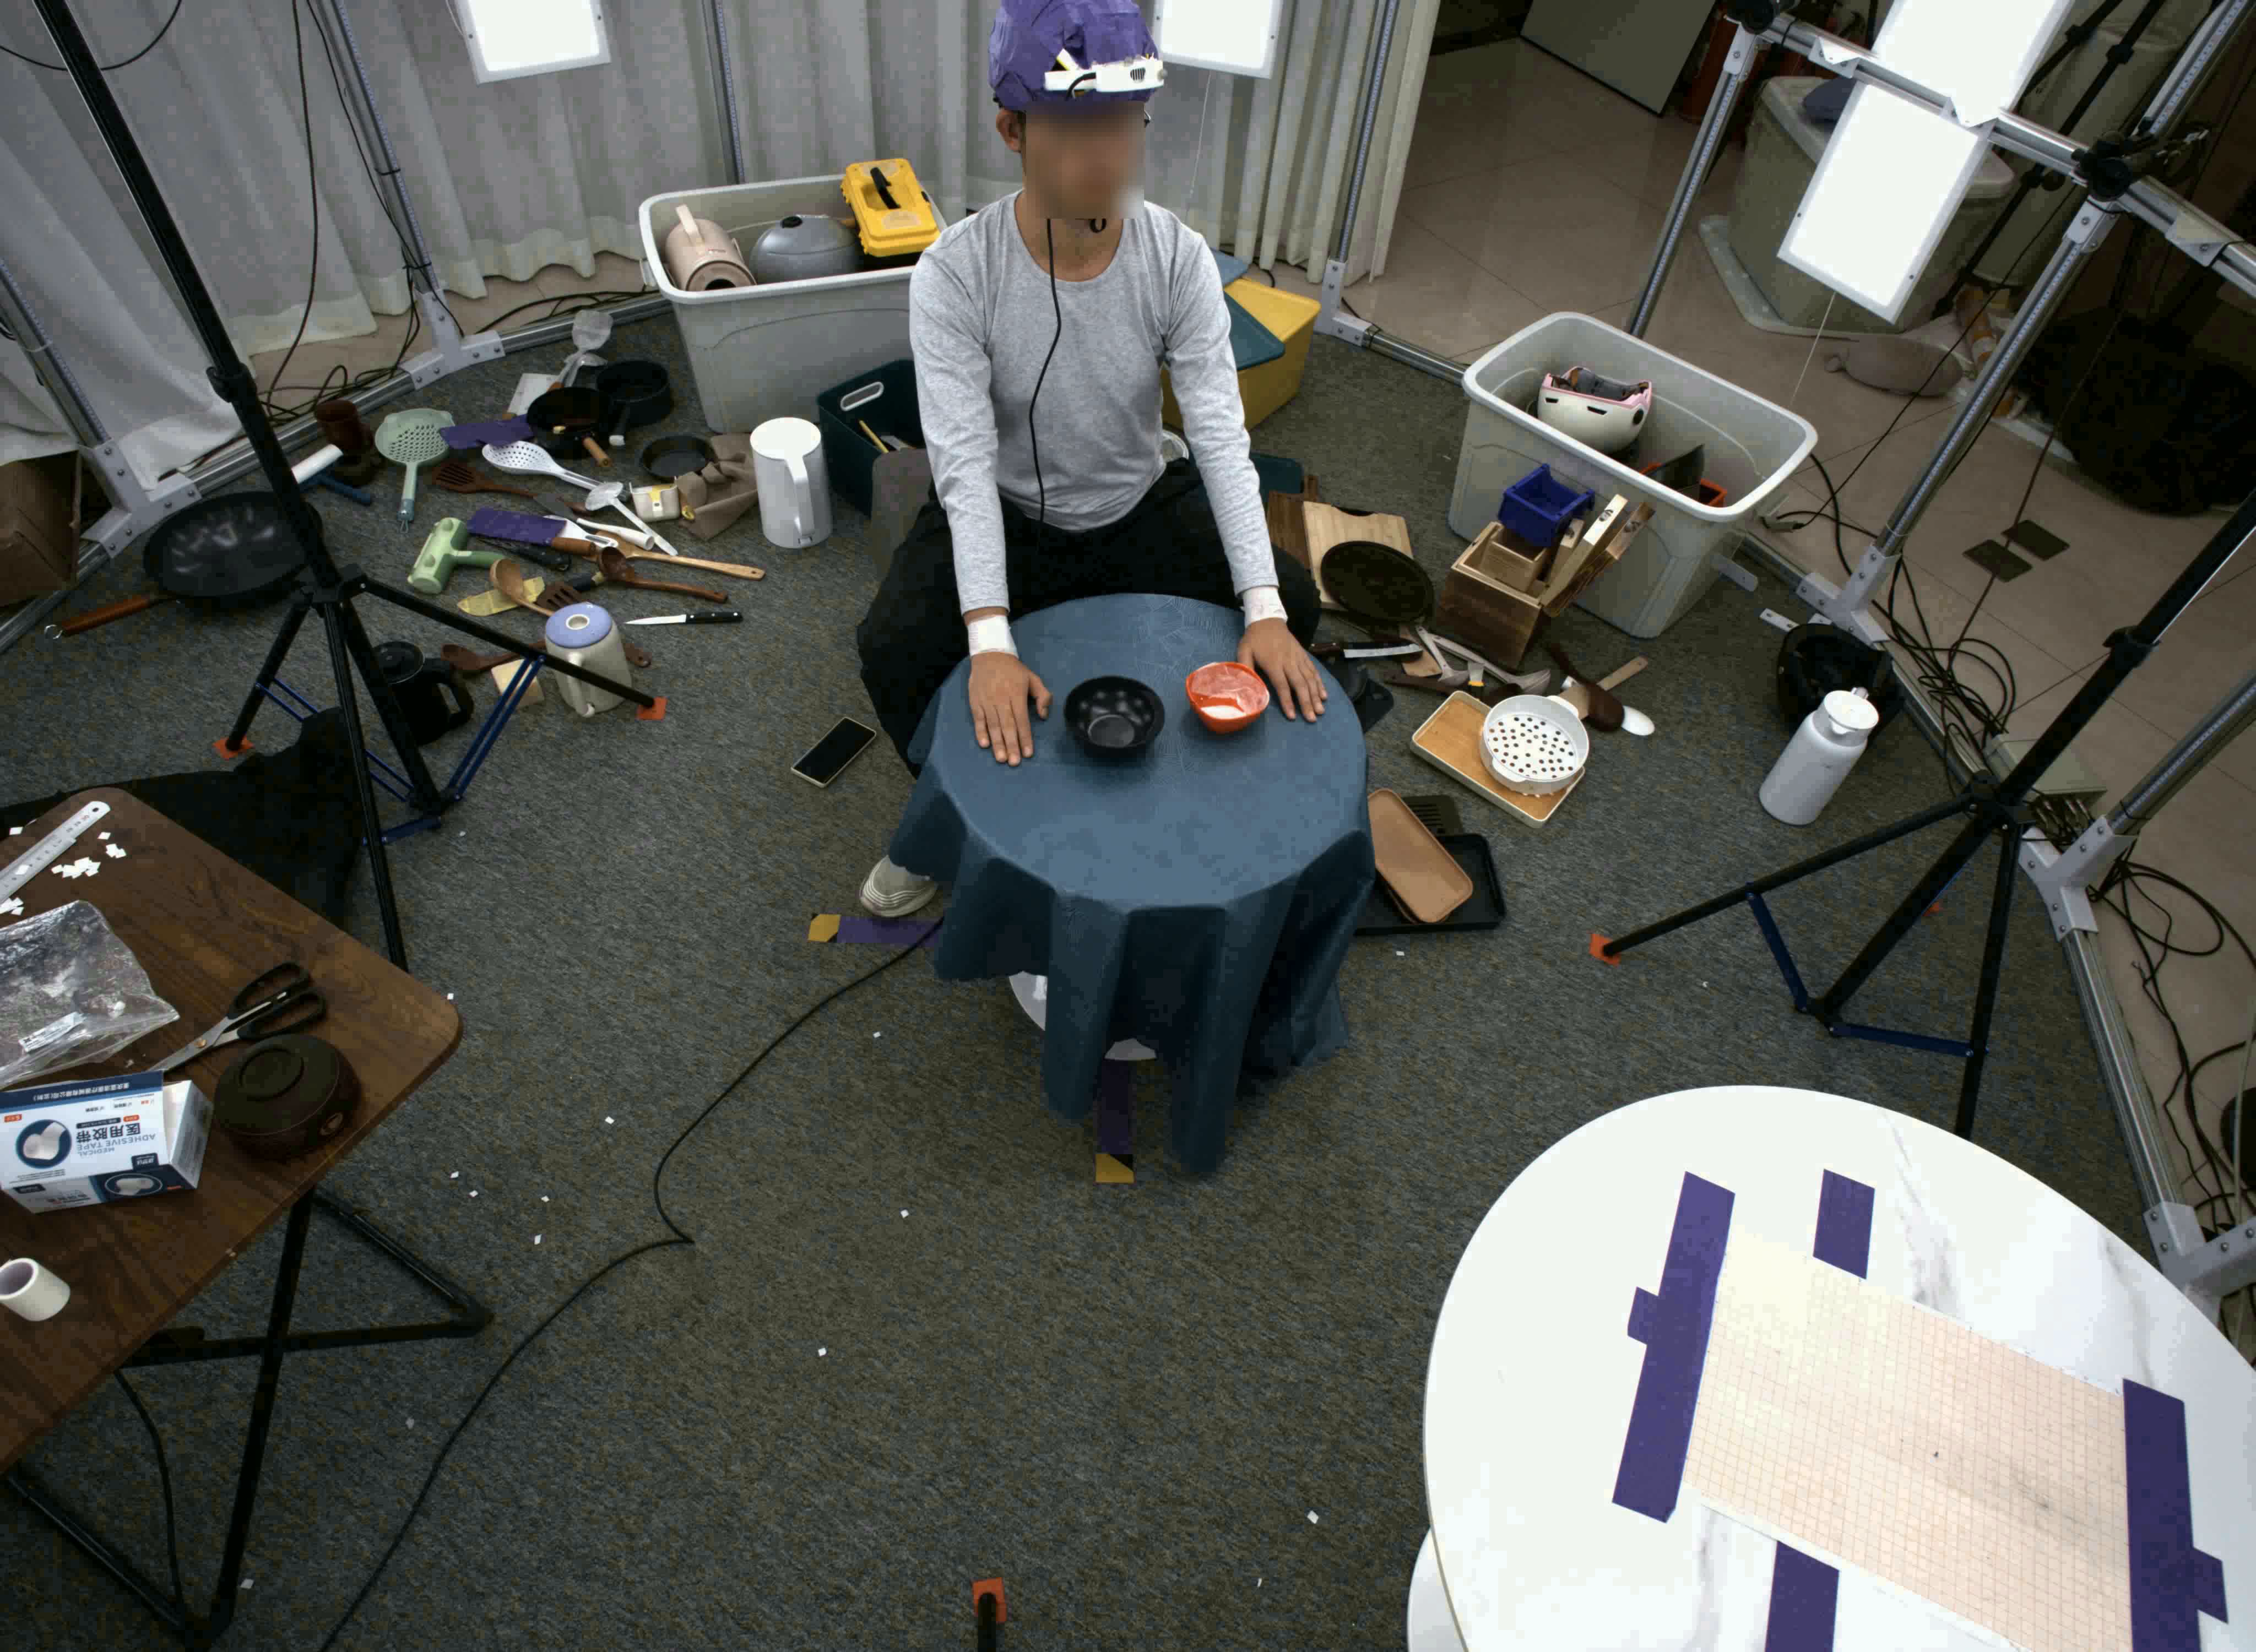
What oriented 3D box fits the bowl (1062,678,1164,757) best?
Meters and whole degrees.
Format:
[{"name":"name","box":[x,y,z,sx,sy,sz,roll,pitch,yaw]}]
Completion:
[{"name":"bowl","box":[-0.021,-0.140,1.758,0.140,0.048,0.143,2,46,-2]}]

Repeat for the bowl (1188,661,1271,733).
[{"name":"bowl","box":[0.139,-0.174,1.793,0.119,0.050,0.122,1,51,-2]}]
